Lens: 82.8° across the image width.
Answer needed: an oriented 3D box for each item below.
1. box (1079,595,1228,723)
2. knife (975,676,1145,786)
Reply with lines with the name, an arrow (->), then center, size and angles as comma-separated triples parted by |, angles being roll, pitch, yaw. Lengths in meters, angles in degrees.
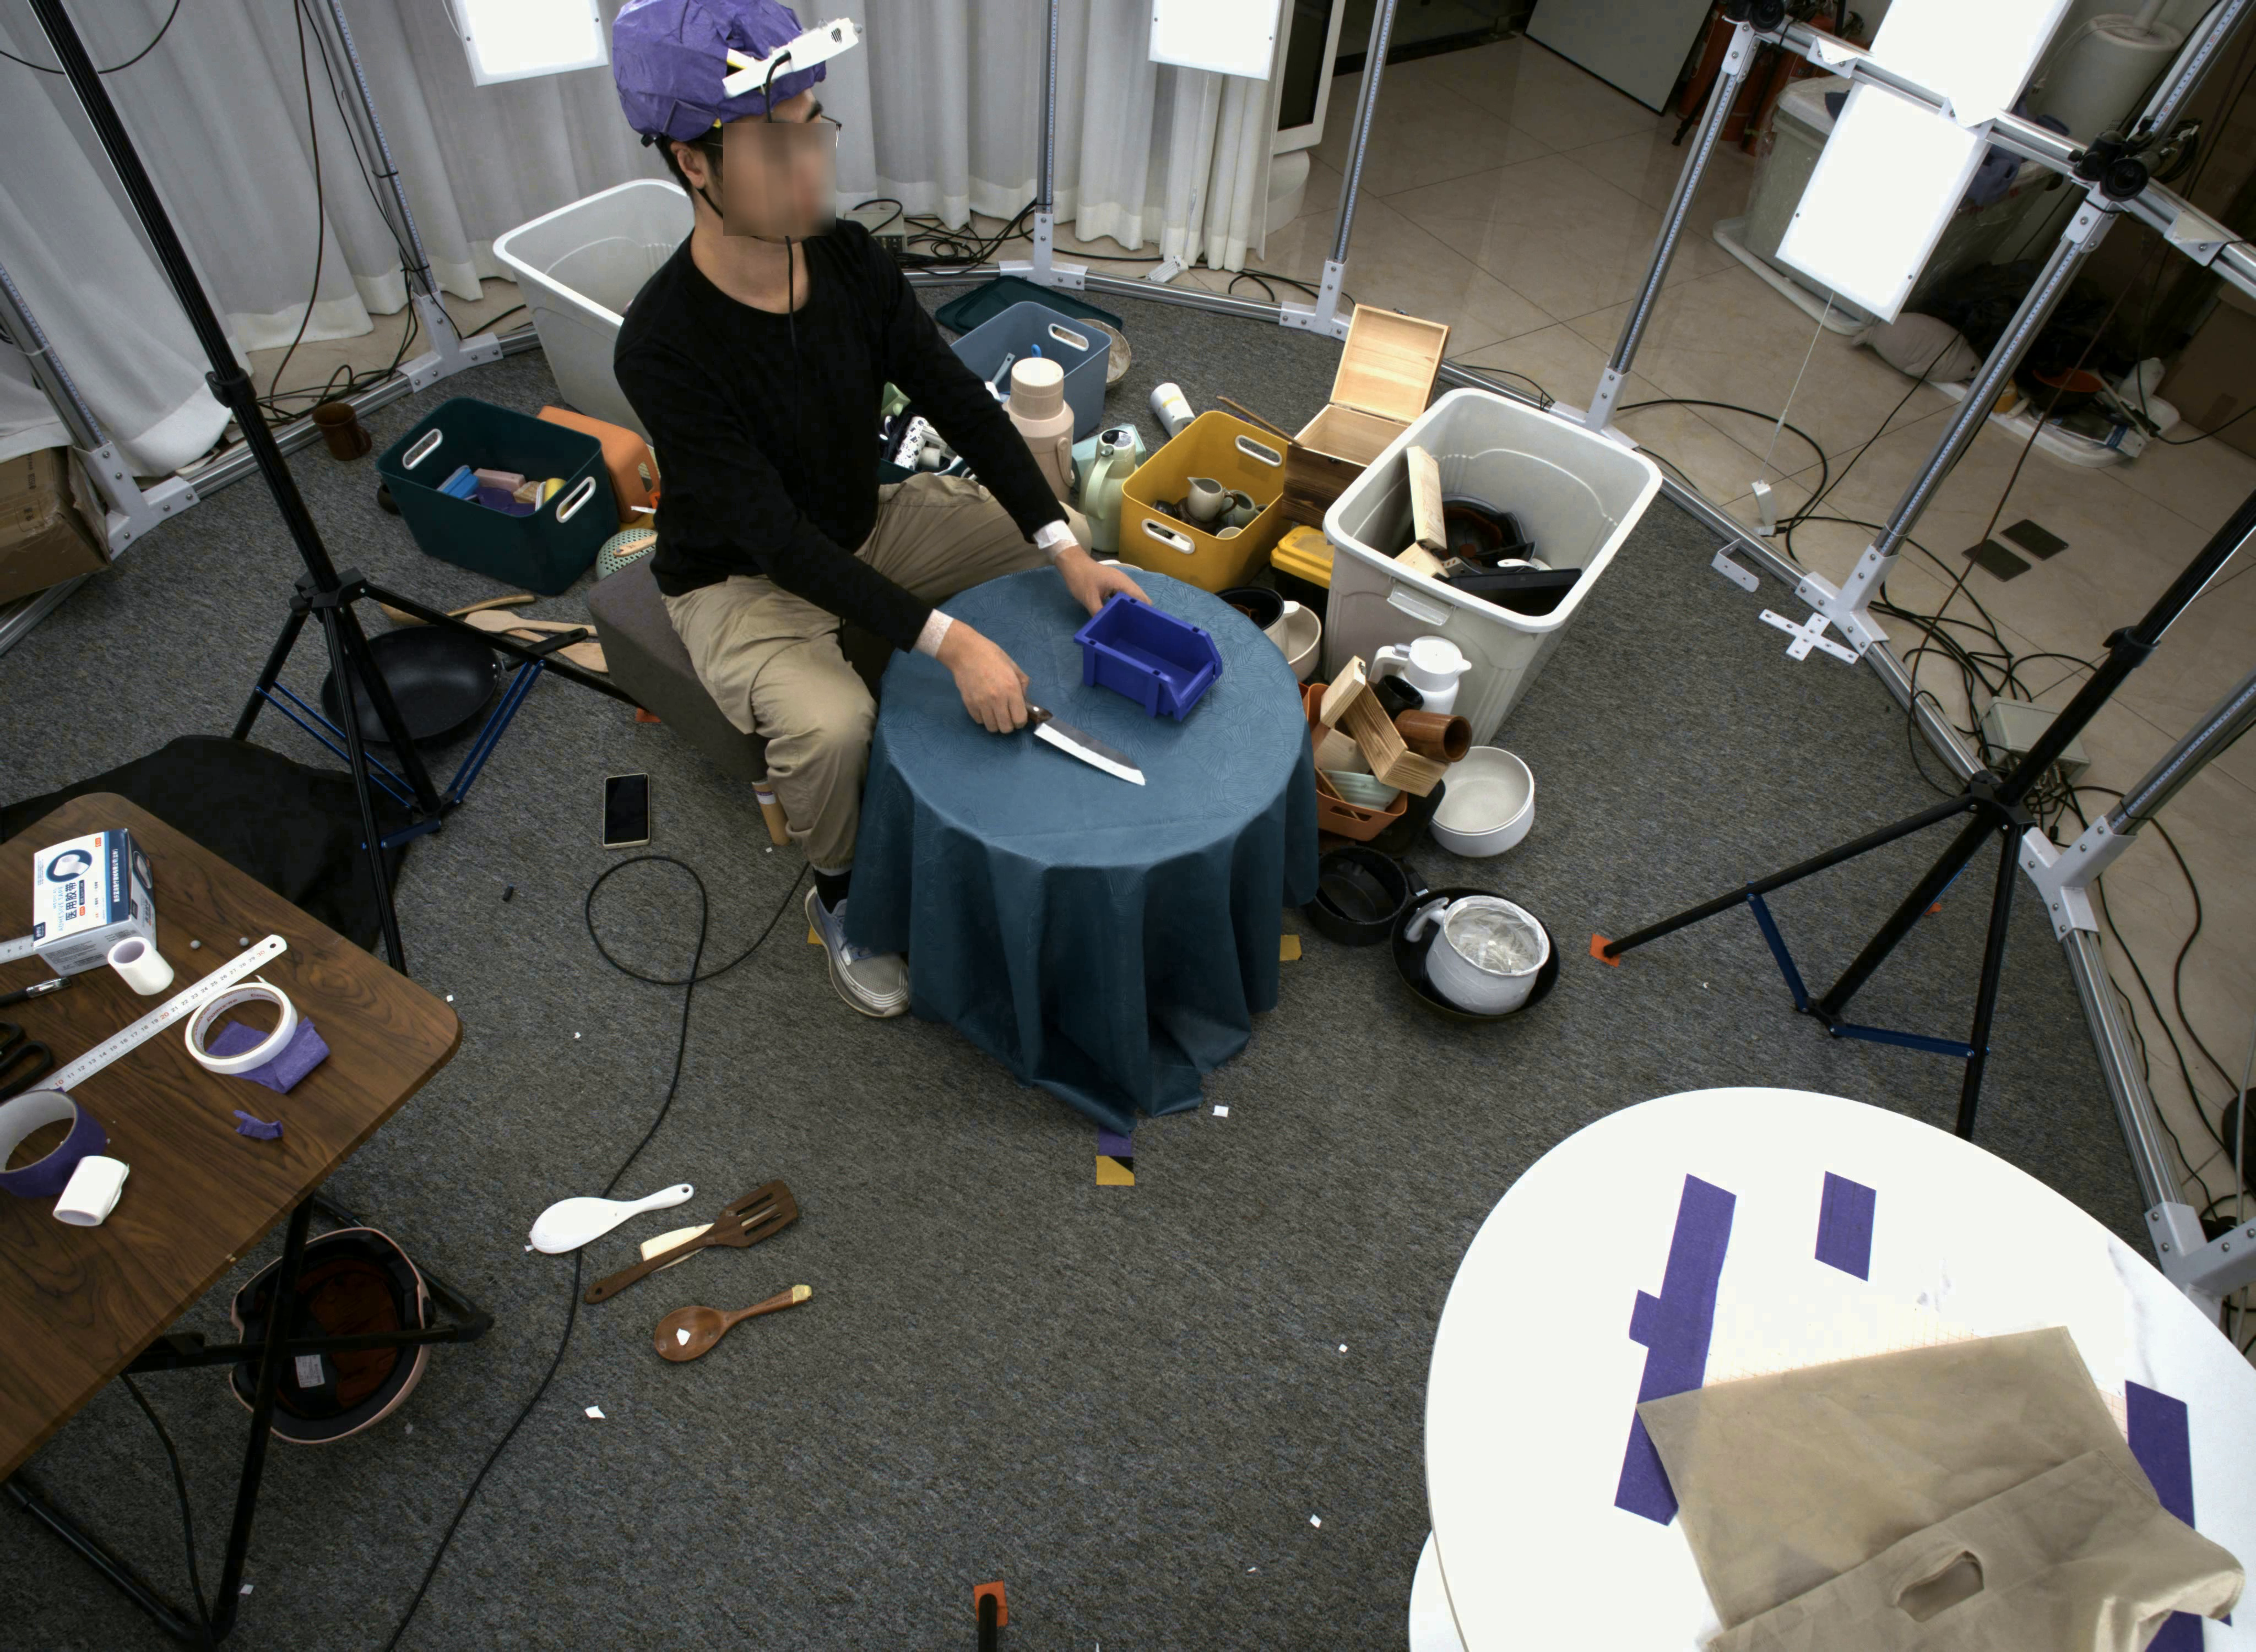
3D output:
box -> 0.039, -0.235, 1.823 | 0.181, 0.080, 0.126 | 27, 52, 21
knife -> -0.095, -0.130, 1.760 | 0.291, 0.019, 0.051 | 32, 58, 16
